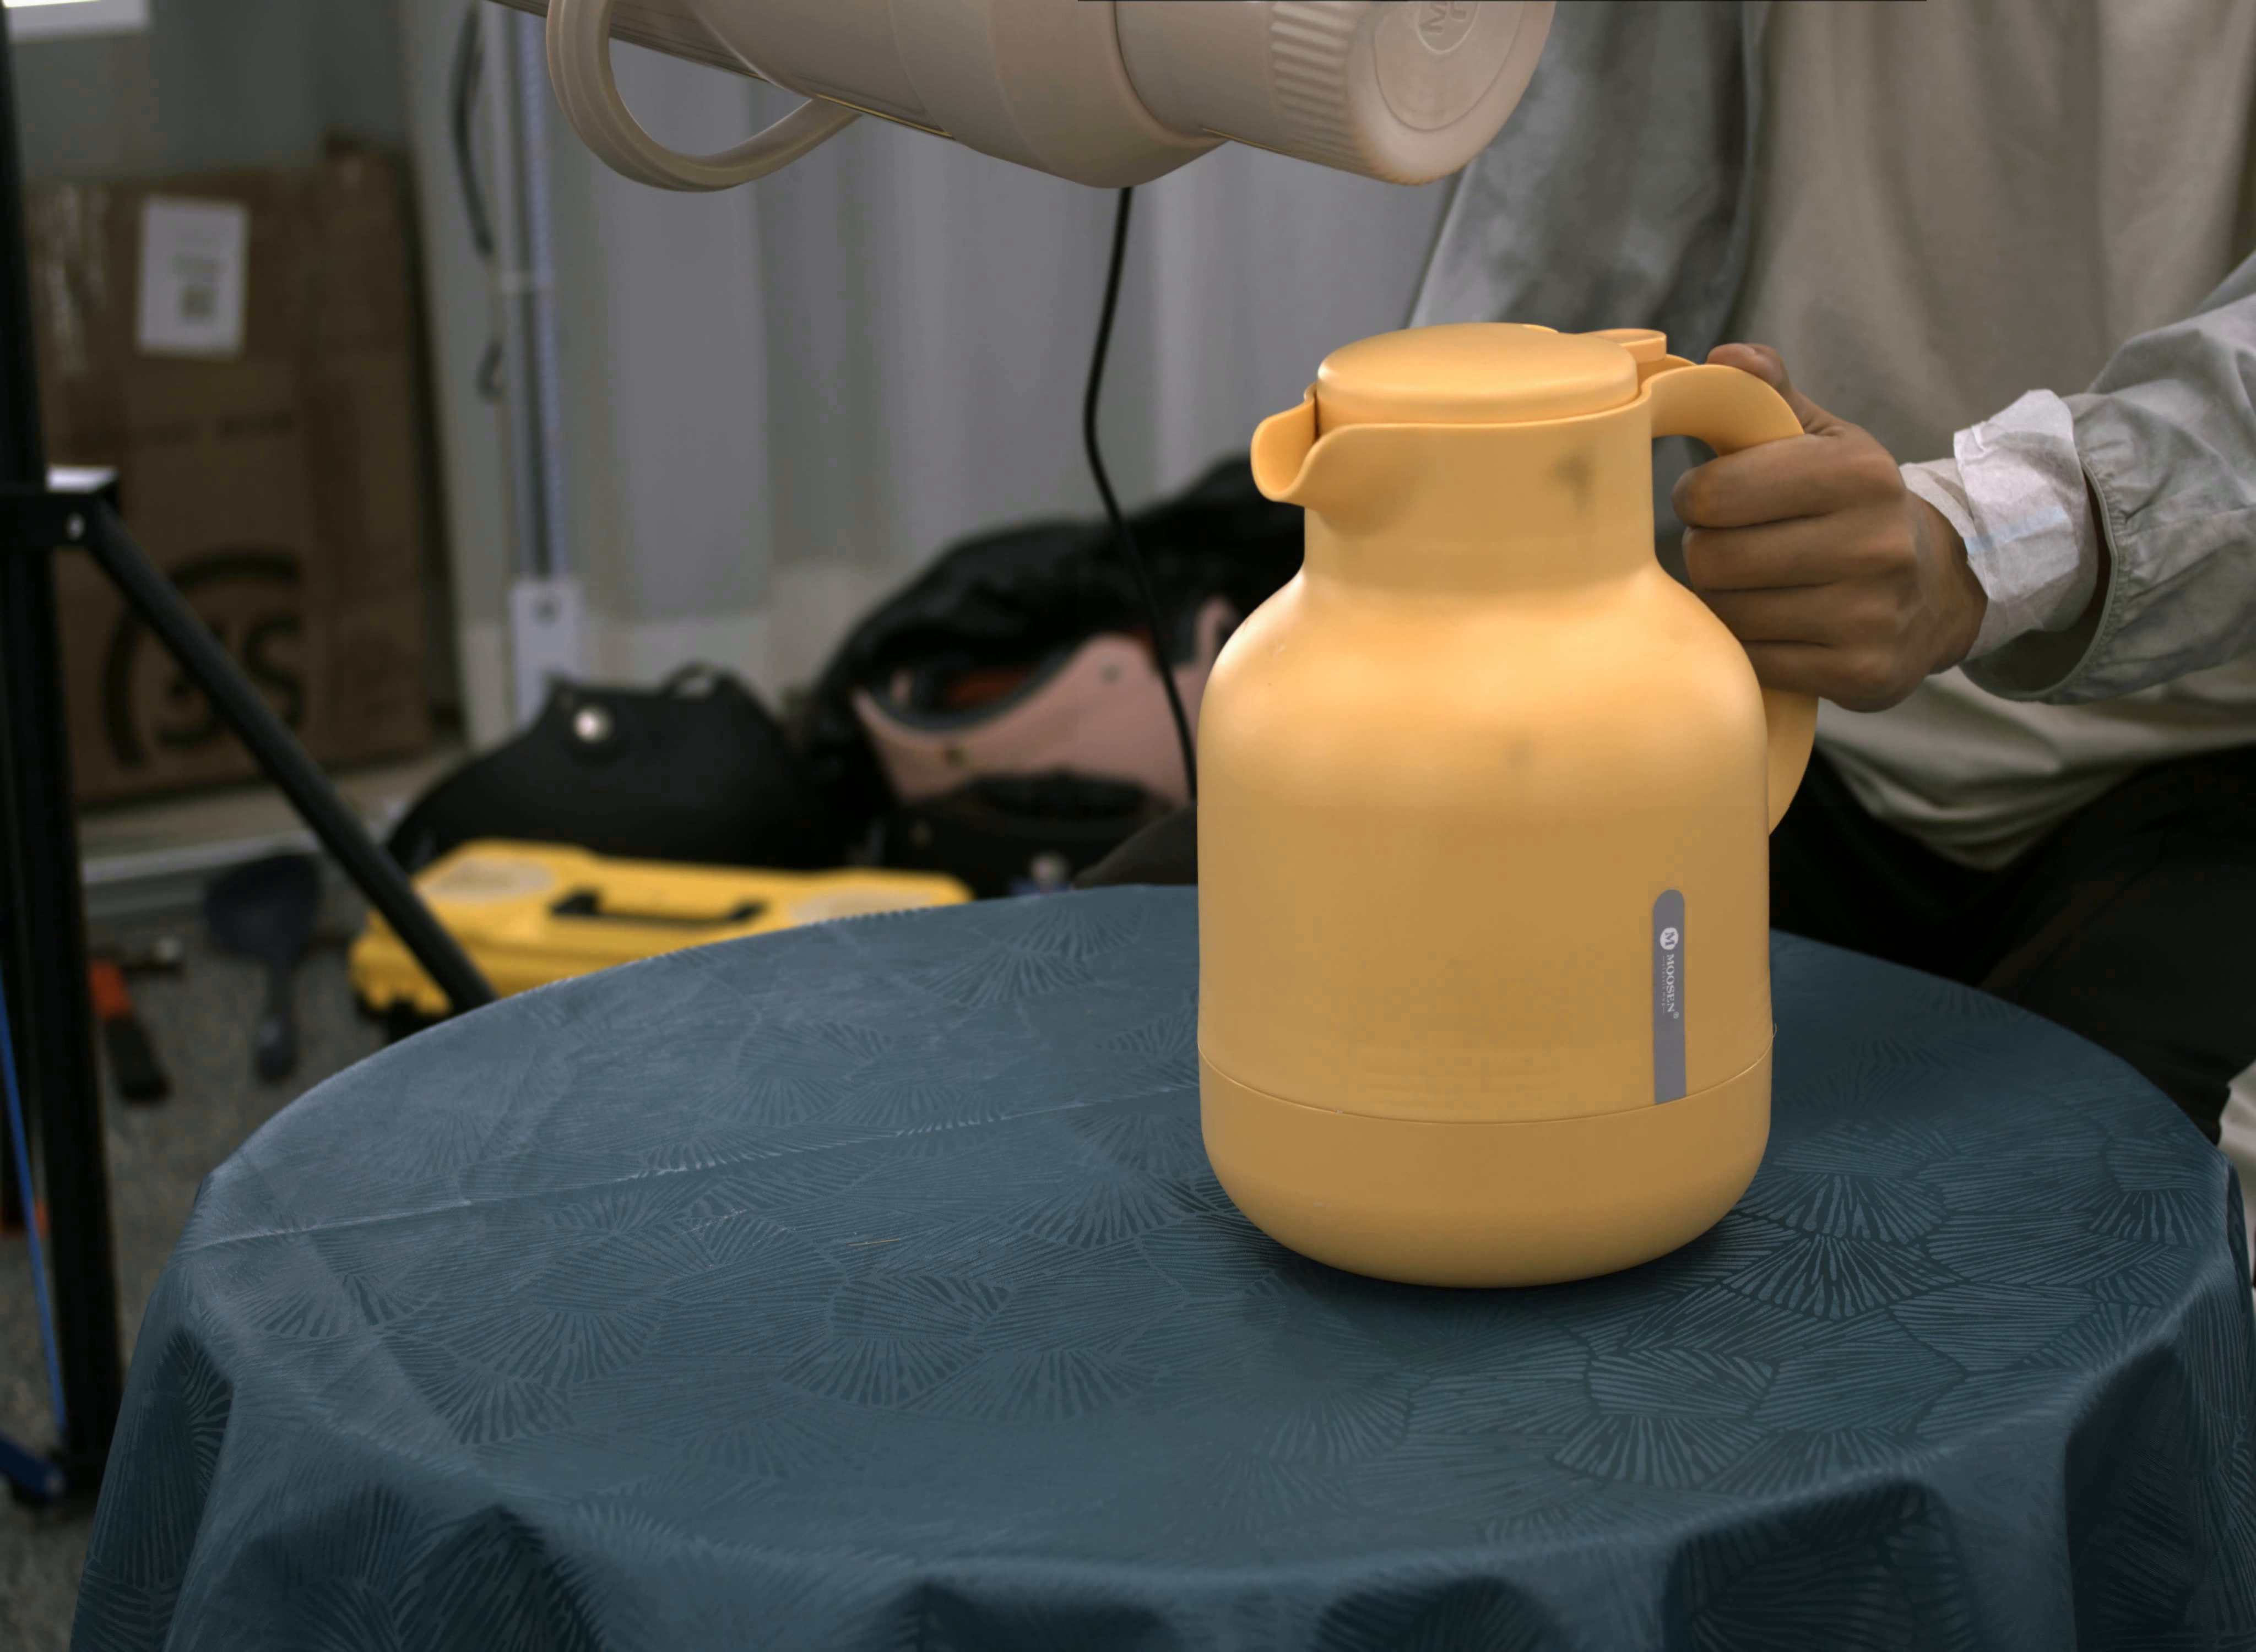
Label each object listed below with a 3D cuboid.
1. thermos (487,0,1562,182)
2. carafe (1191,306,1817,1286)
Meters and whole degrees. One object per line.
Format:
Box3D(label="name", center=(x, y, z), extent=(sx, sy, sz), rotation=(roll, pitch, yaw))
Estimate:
Box3D(label="thermos", center=(-0.059, -0.300, 1.563), extent=(0.415, 0.208, 0.171), rotation=(21, 4, 37))
Box3D(label="carafe", center=(0.114, -0.015, 1.494), extent=(0.198, 0.260, 0.167), rotation=(-13, 21, -32))
